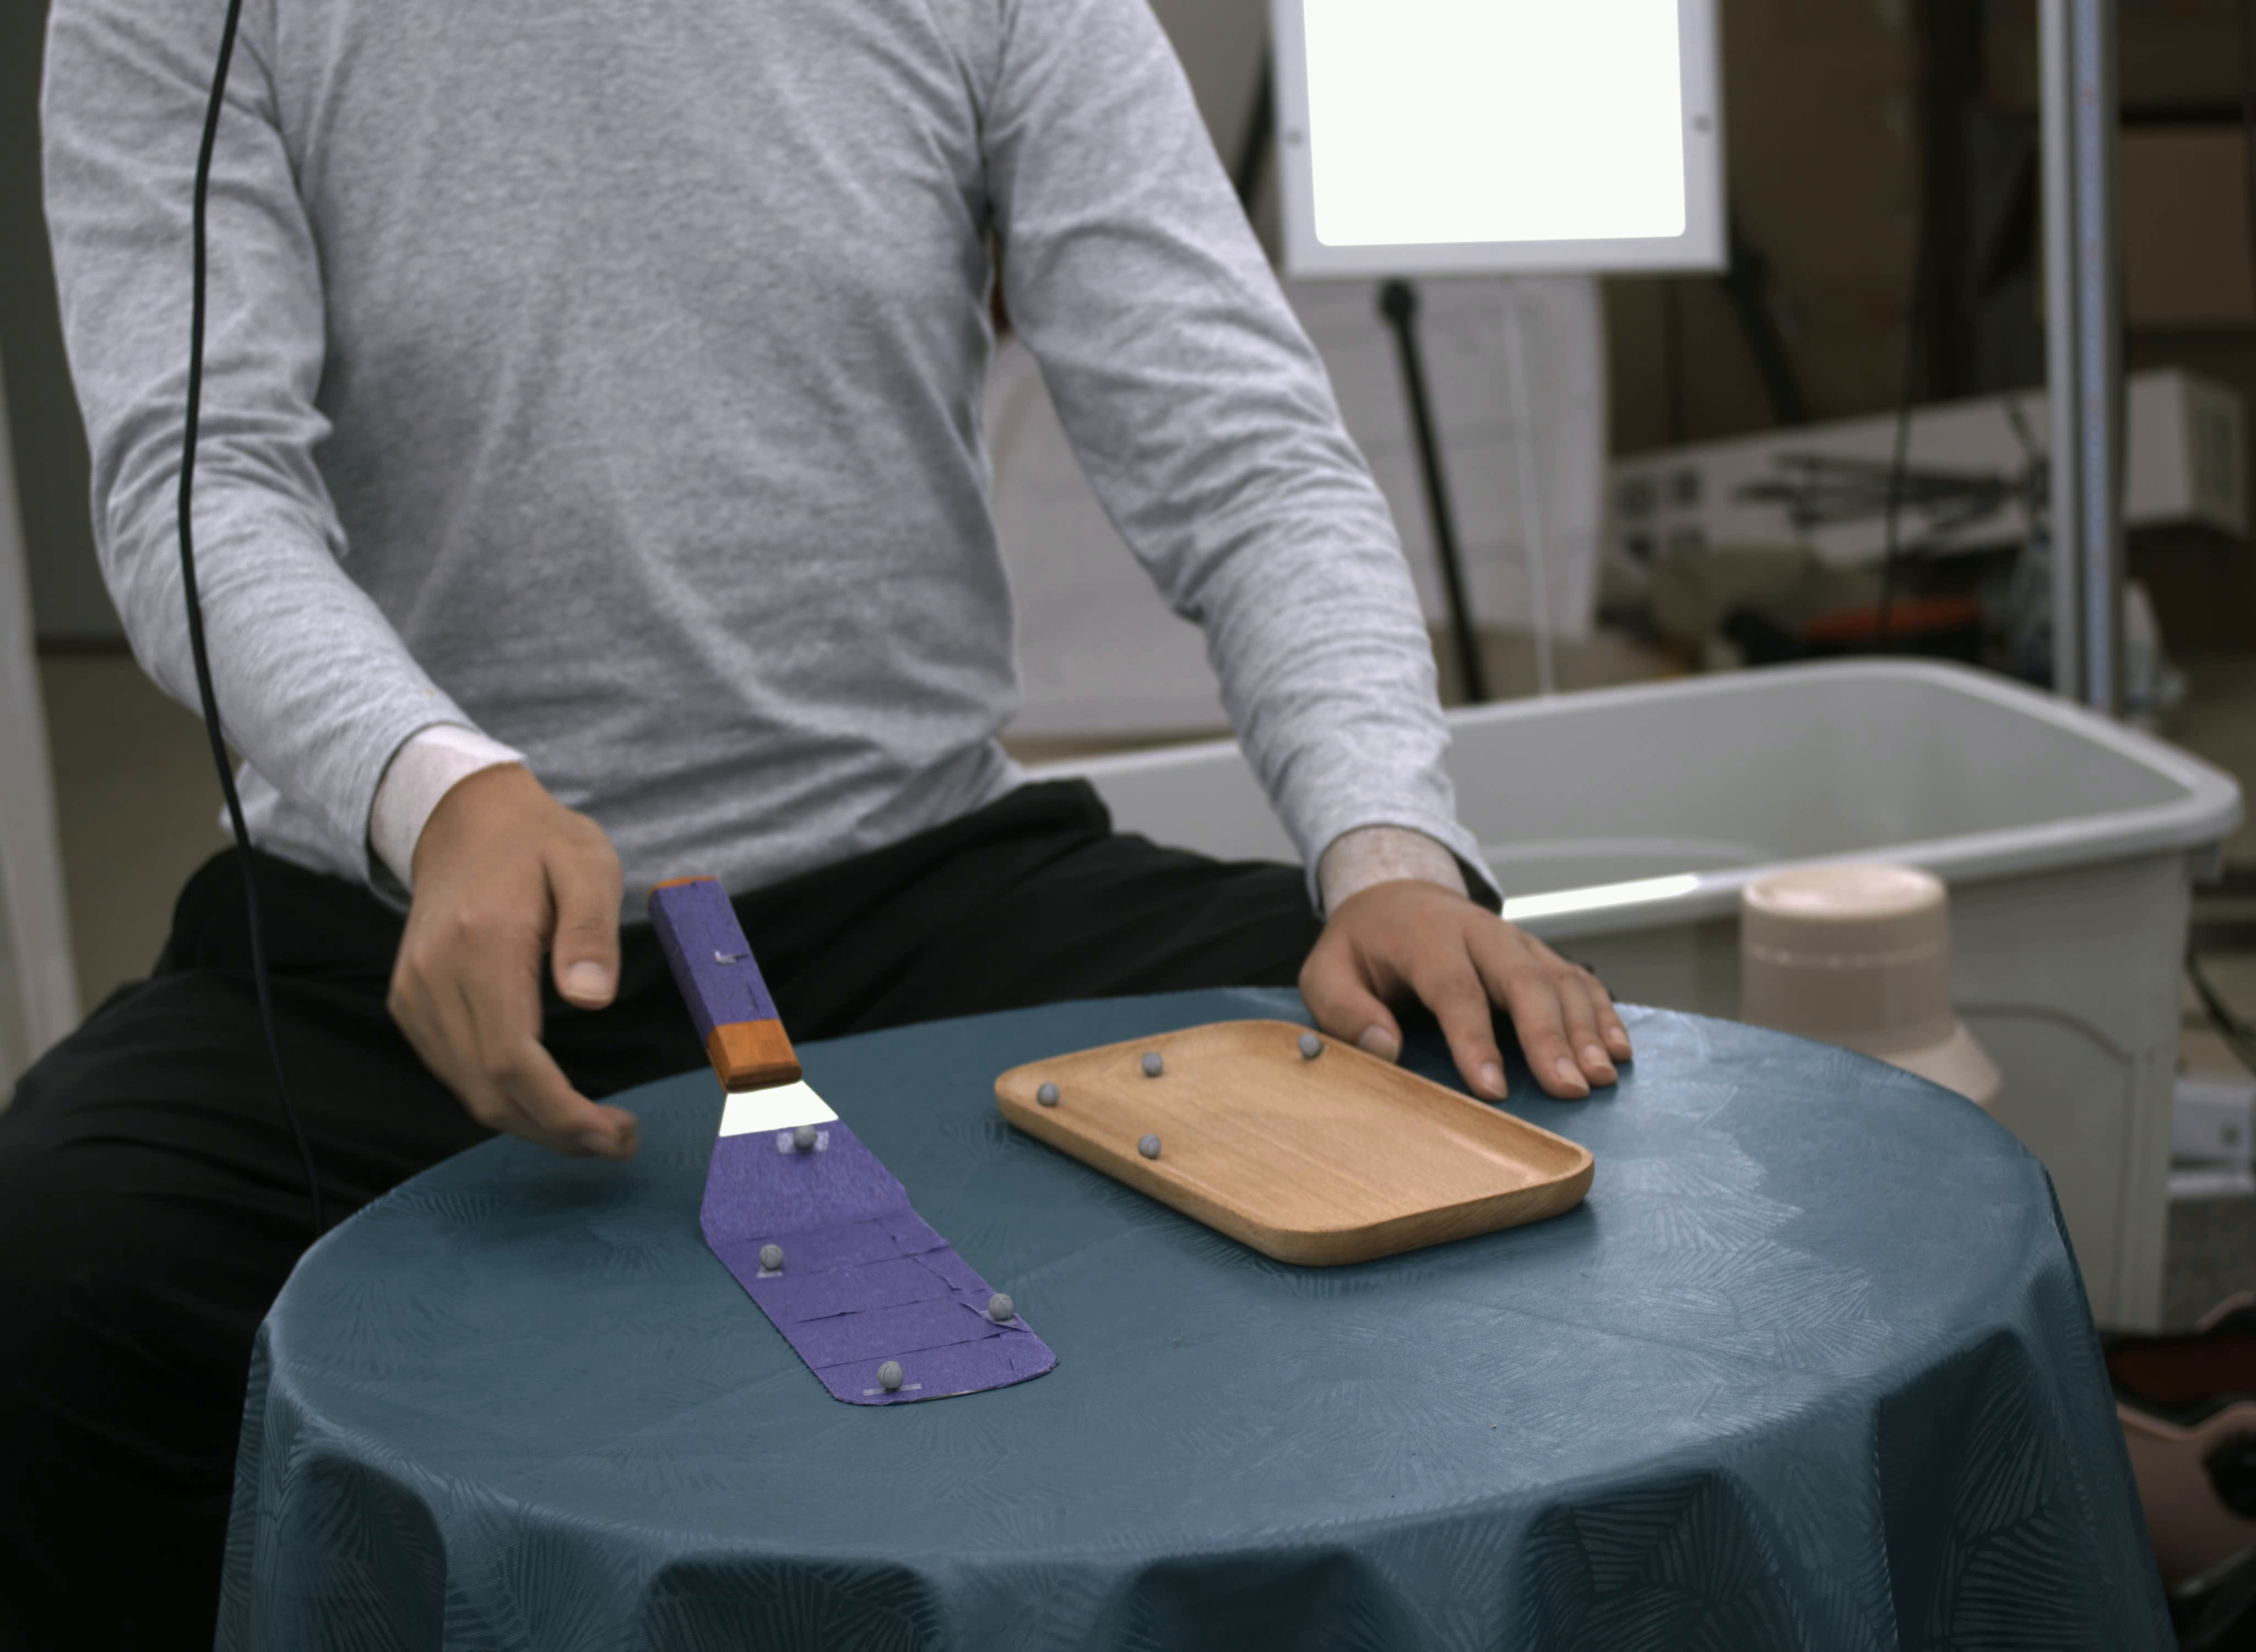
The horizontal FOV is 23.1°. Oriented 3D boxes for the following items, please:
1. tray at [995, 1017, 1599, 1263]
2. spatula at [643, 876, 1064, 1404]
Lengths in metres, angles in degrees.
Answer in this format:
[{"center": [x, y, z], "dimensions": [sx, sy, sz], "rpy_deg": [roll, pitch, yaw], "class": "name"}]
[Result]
[{"center": [0.056, 0.107, 1.919], "dimensions": [0.128, 0.023, 0.255], "rpy_deg": [-15, 17, -23], "class": "tray"}, {"center": [-0.107, 0.102, 1.869], "dimensions": [0.074, 0.087, 0.361], "rpy_deg": [-7, 39, -16], "class": "spatula"}]
